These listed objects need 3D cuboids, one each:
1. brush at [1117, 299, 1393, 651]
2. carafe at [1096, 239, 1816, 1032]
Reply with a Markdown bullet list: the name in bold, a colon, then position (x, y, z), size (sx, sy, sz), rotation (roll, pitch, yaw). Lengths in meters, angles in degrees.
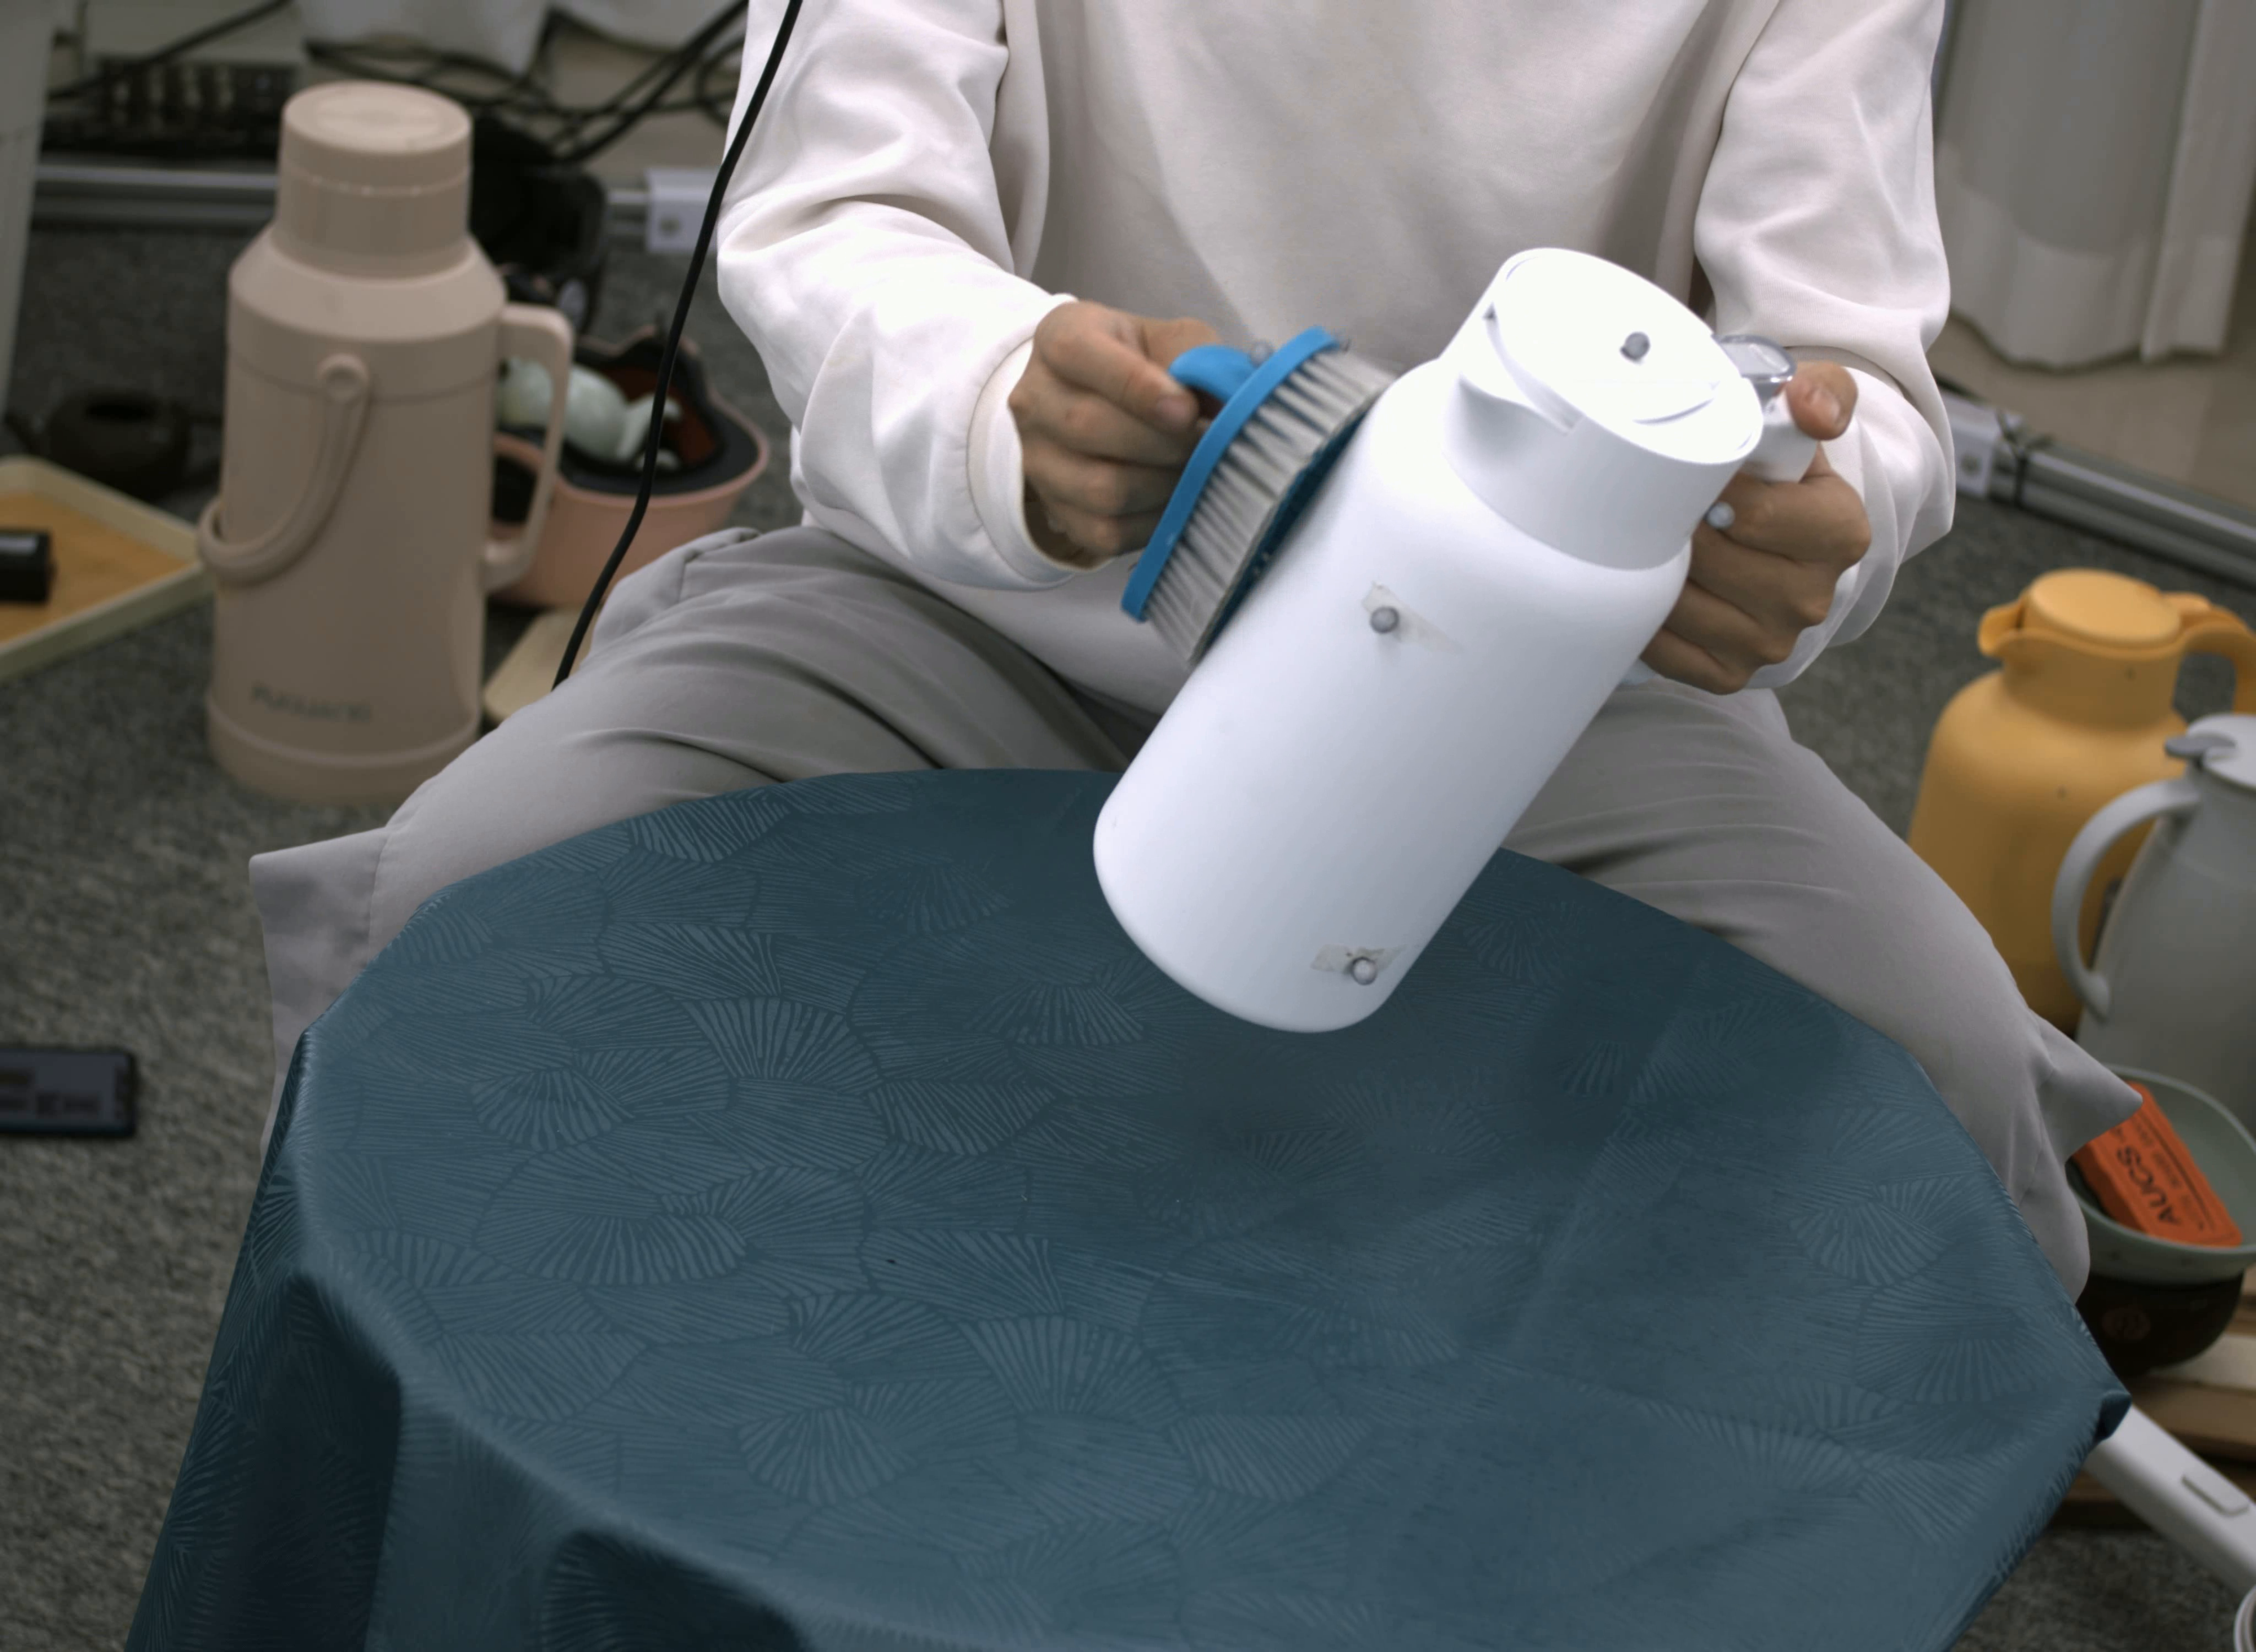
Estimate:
- **brush**: position (0.032, -0.122, 1.762), size (0.064, 0.141, 0.084), rotation (38, 56, 9)
- **carafe**: position (0.110, -0.061, 1.757), size (0.171, 0.268, 0.125), rotation (-3, 46, -41)
